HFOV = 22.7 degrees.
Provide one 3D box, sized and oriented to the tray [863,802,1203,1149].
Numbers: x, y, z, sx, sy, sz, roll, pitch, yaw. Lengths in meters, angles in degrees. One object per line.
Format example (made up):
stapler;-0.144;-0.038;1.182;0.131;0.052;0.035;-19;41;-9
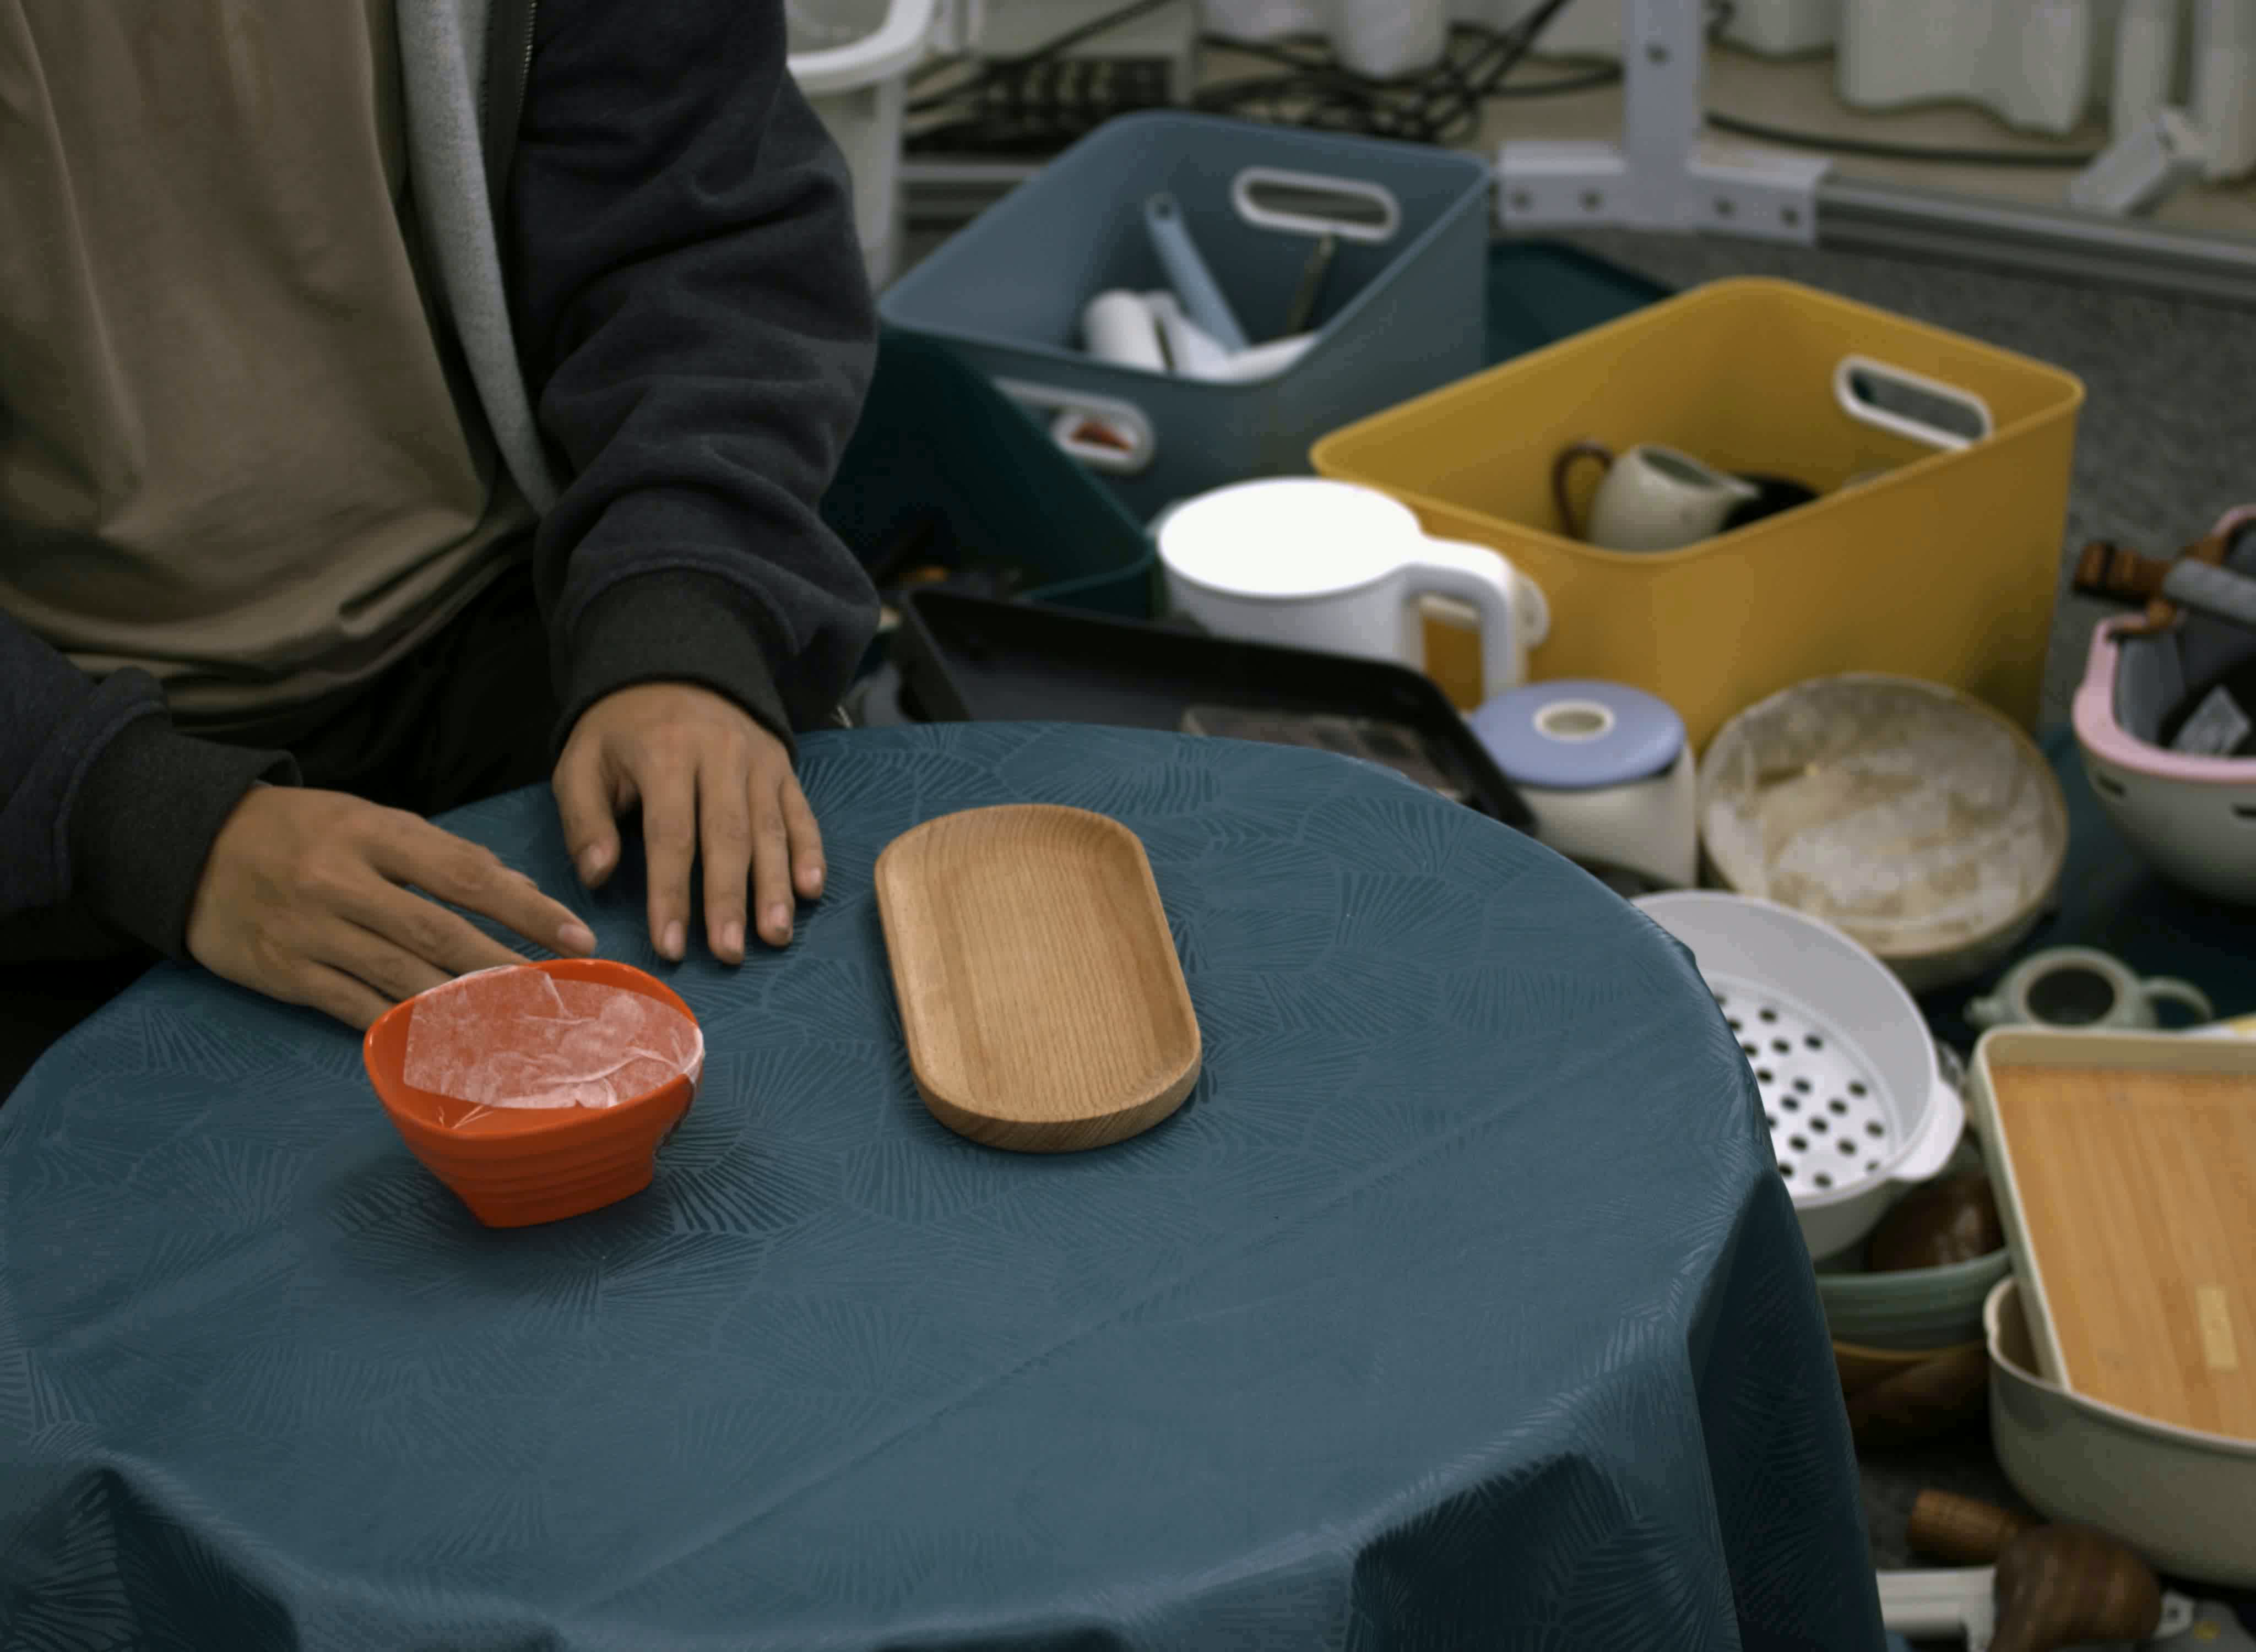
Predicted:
tray;-0.035;0.050;1.985;0.101;0.020;0.234;-6;27;-8

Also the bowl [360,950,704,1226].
bowl;-0.197;0.092;1.879;0.118;0.051;0.121;-2;29;2
